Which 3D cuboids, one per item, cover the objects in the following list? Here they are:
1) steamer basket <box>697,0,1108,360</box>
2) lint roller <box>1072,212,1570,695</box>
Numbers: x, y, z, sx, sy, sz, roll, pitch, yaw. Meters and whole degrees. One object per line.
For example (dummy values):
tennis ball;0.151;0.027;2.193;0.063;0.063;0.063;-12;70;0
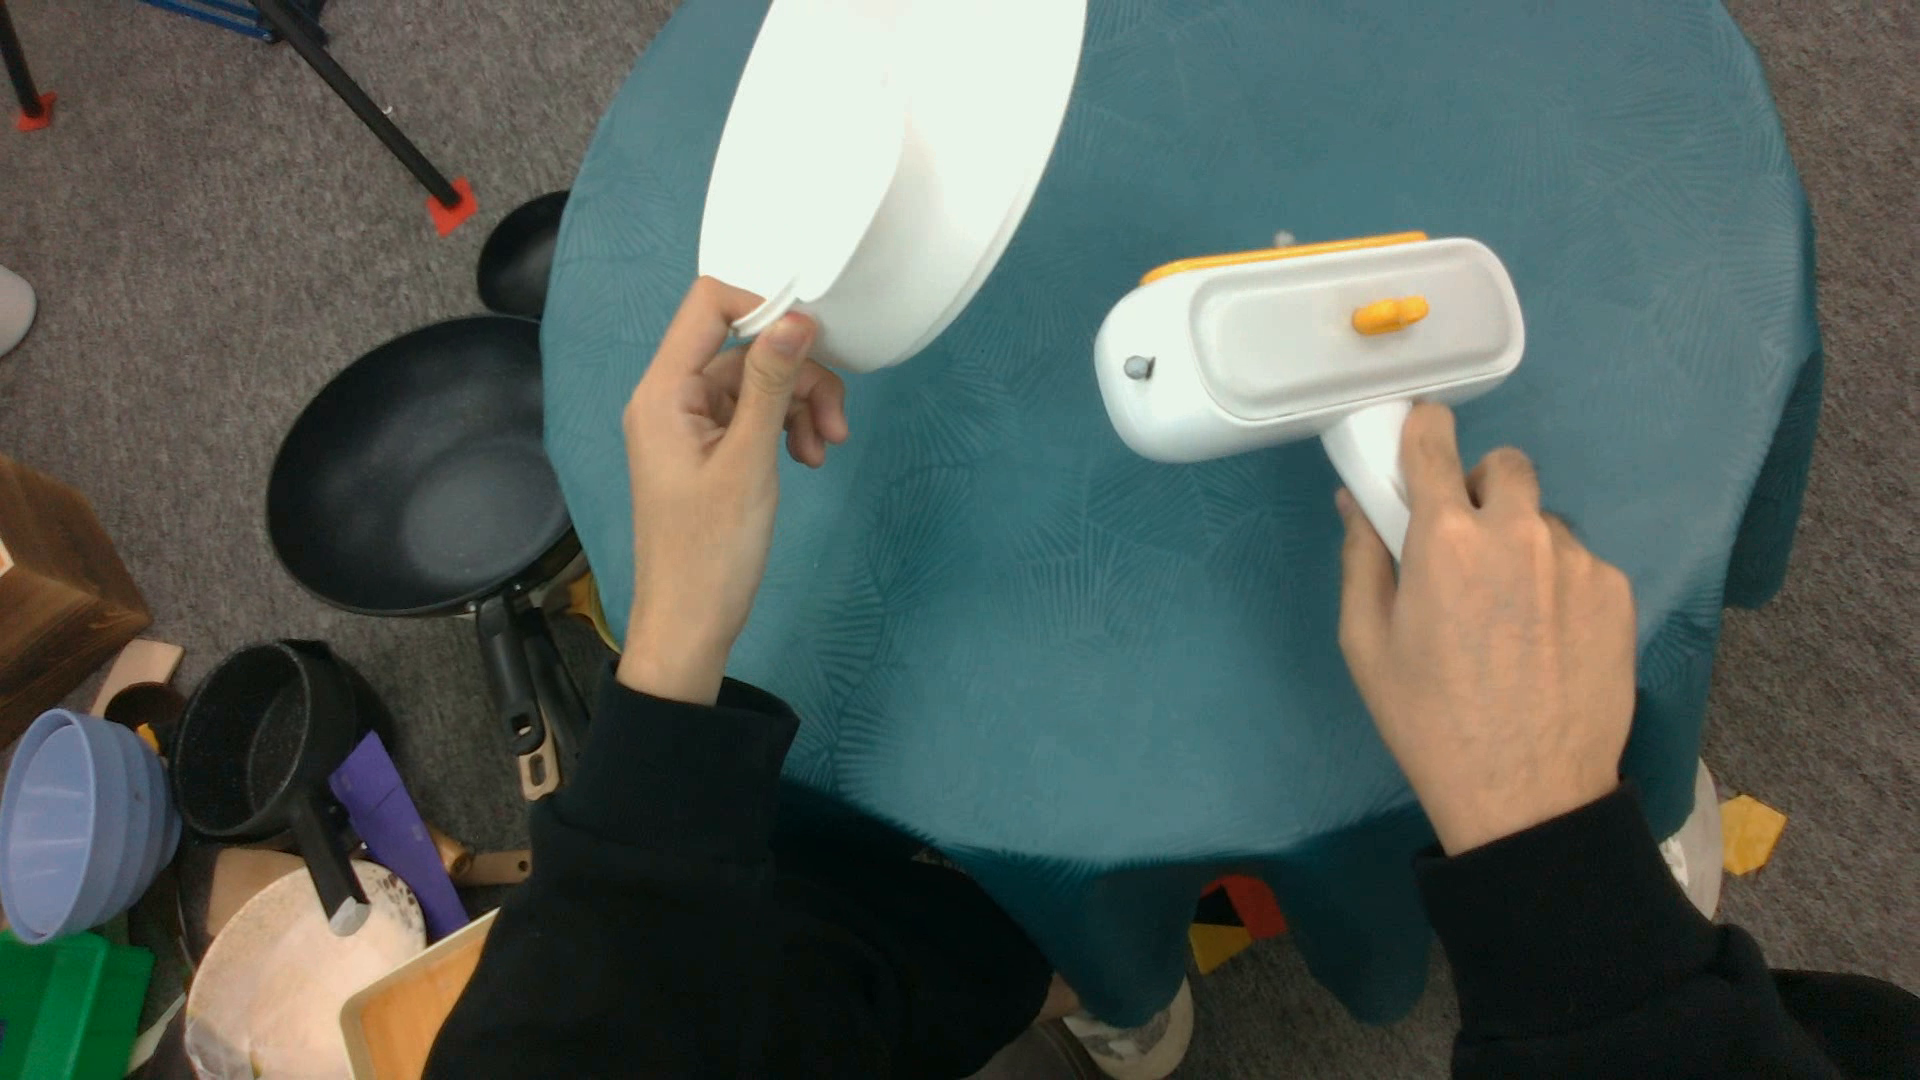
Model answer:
steamer basket;-0.026;-0.168;0.540;0.201;0.069;0.231;-47;33;30
lint roller;0.152;-0.029;0.503;0.193;0.074;0.192;-17;79;-38
